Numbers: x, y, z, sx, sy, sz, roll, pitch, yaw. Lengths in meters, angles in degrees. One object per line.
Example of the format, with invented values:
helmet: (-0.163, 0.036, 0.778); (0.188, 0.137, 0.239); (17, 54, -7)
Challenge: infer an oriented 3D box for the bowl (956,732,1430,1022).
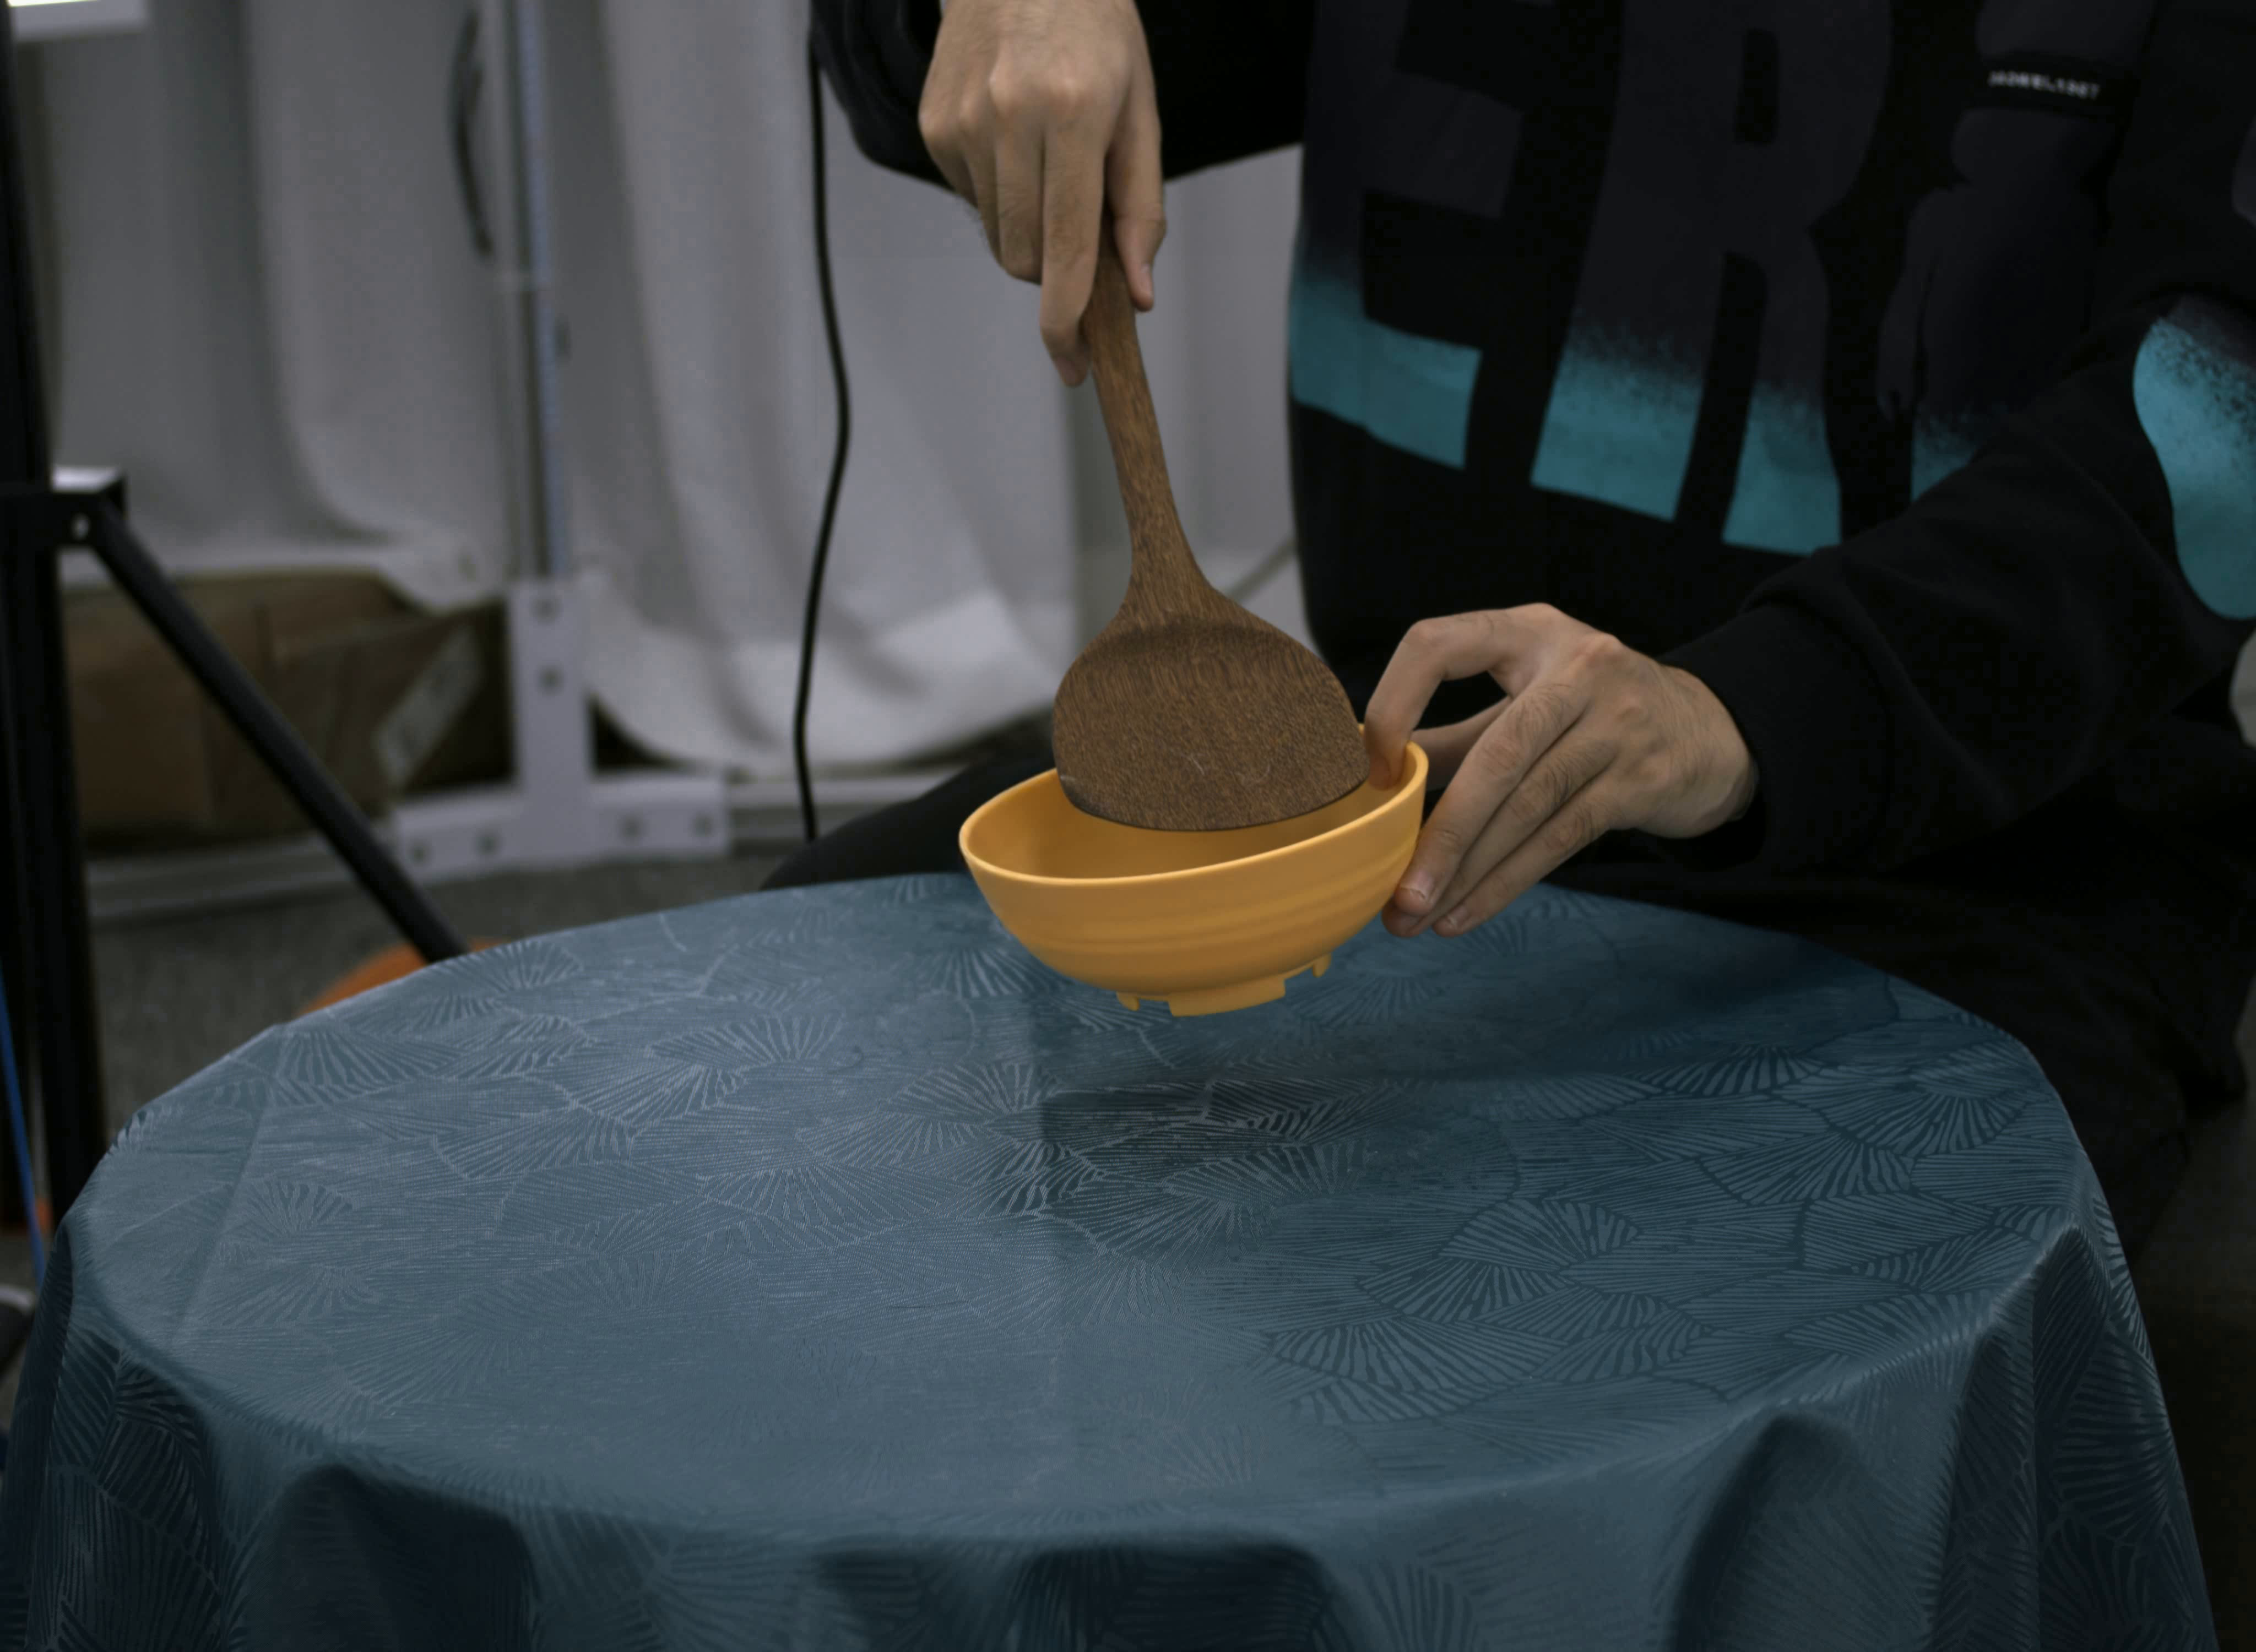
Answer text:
bowl: (0.023, 0.021, 1.611); (0.145, 0.060, 0.146); (-8, 17, 1)

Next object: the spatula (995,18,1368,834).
spatula: (-0.002, -0.139, 1.717); (0.095, 0.015, 0.392); (-7, 48, -6)
